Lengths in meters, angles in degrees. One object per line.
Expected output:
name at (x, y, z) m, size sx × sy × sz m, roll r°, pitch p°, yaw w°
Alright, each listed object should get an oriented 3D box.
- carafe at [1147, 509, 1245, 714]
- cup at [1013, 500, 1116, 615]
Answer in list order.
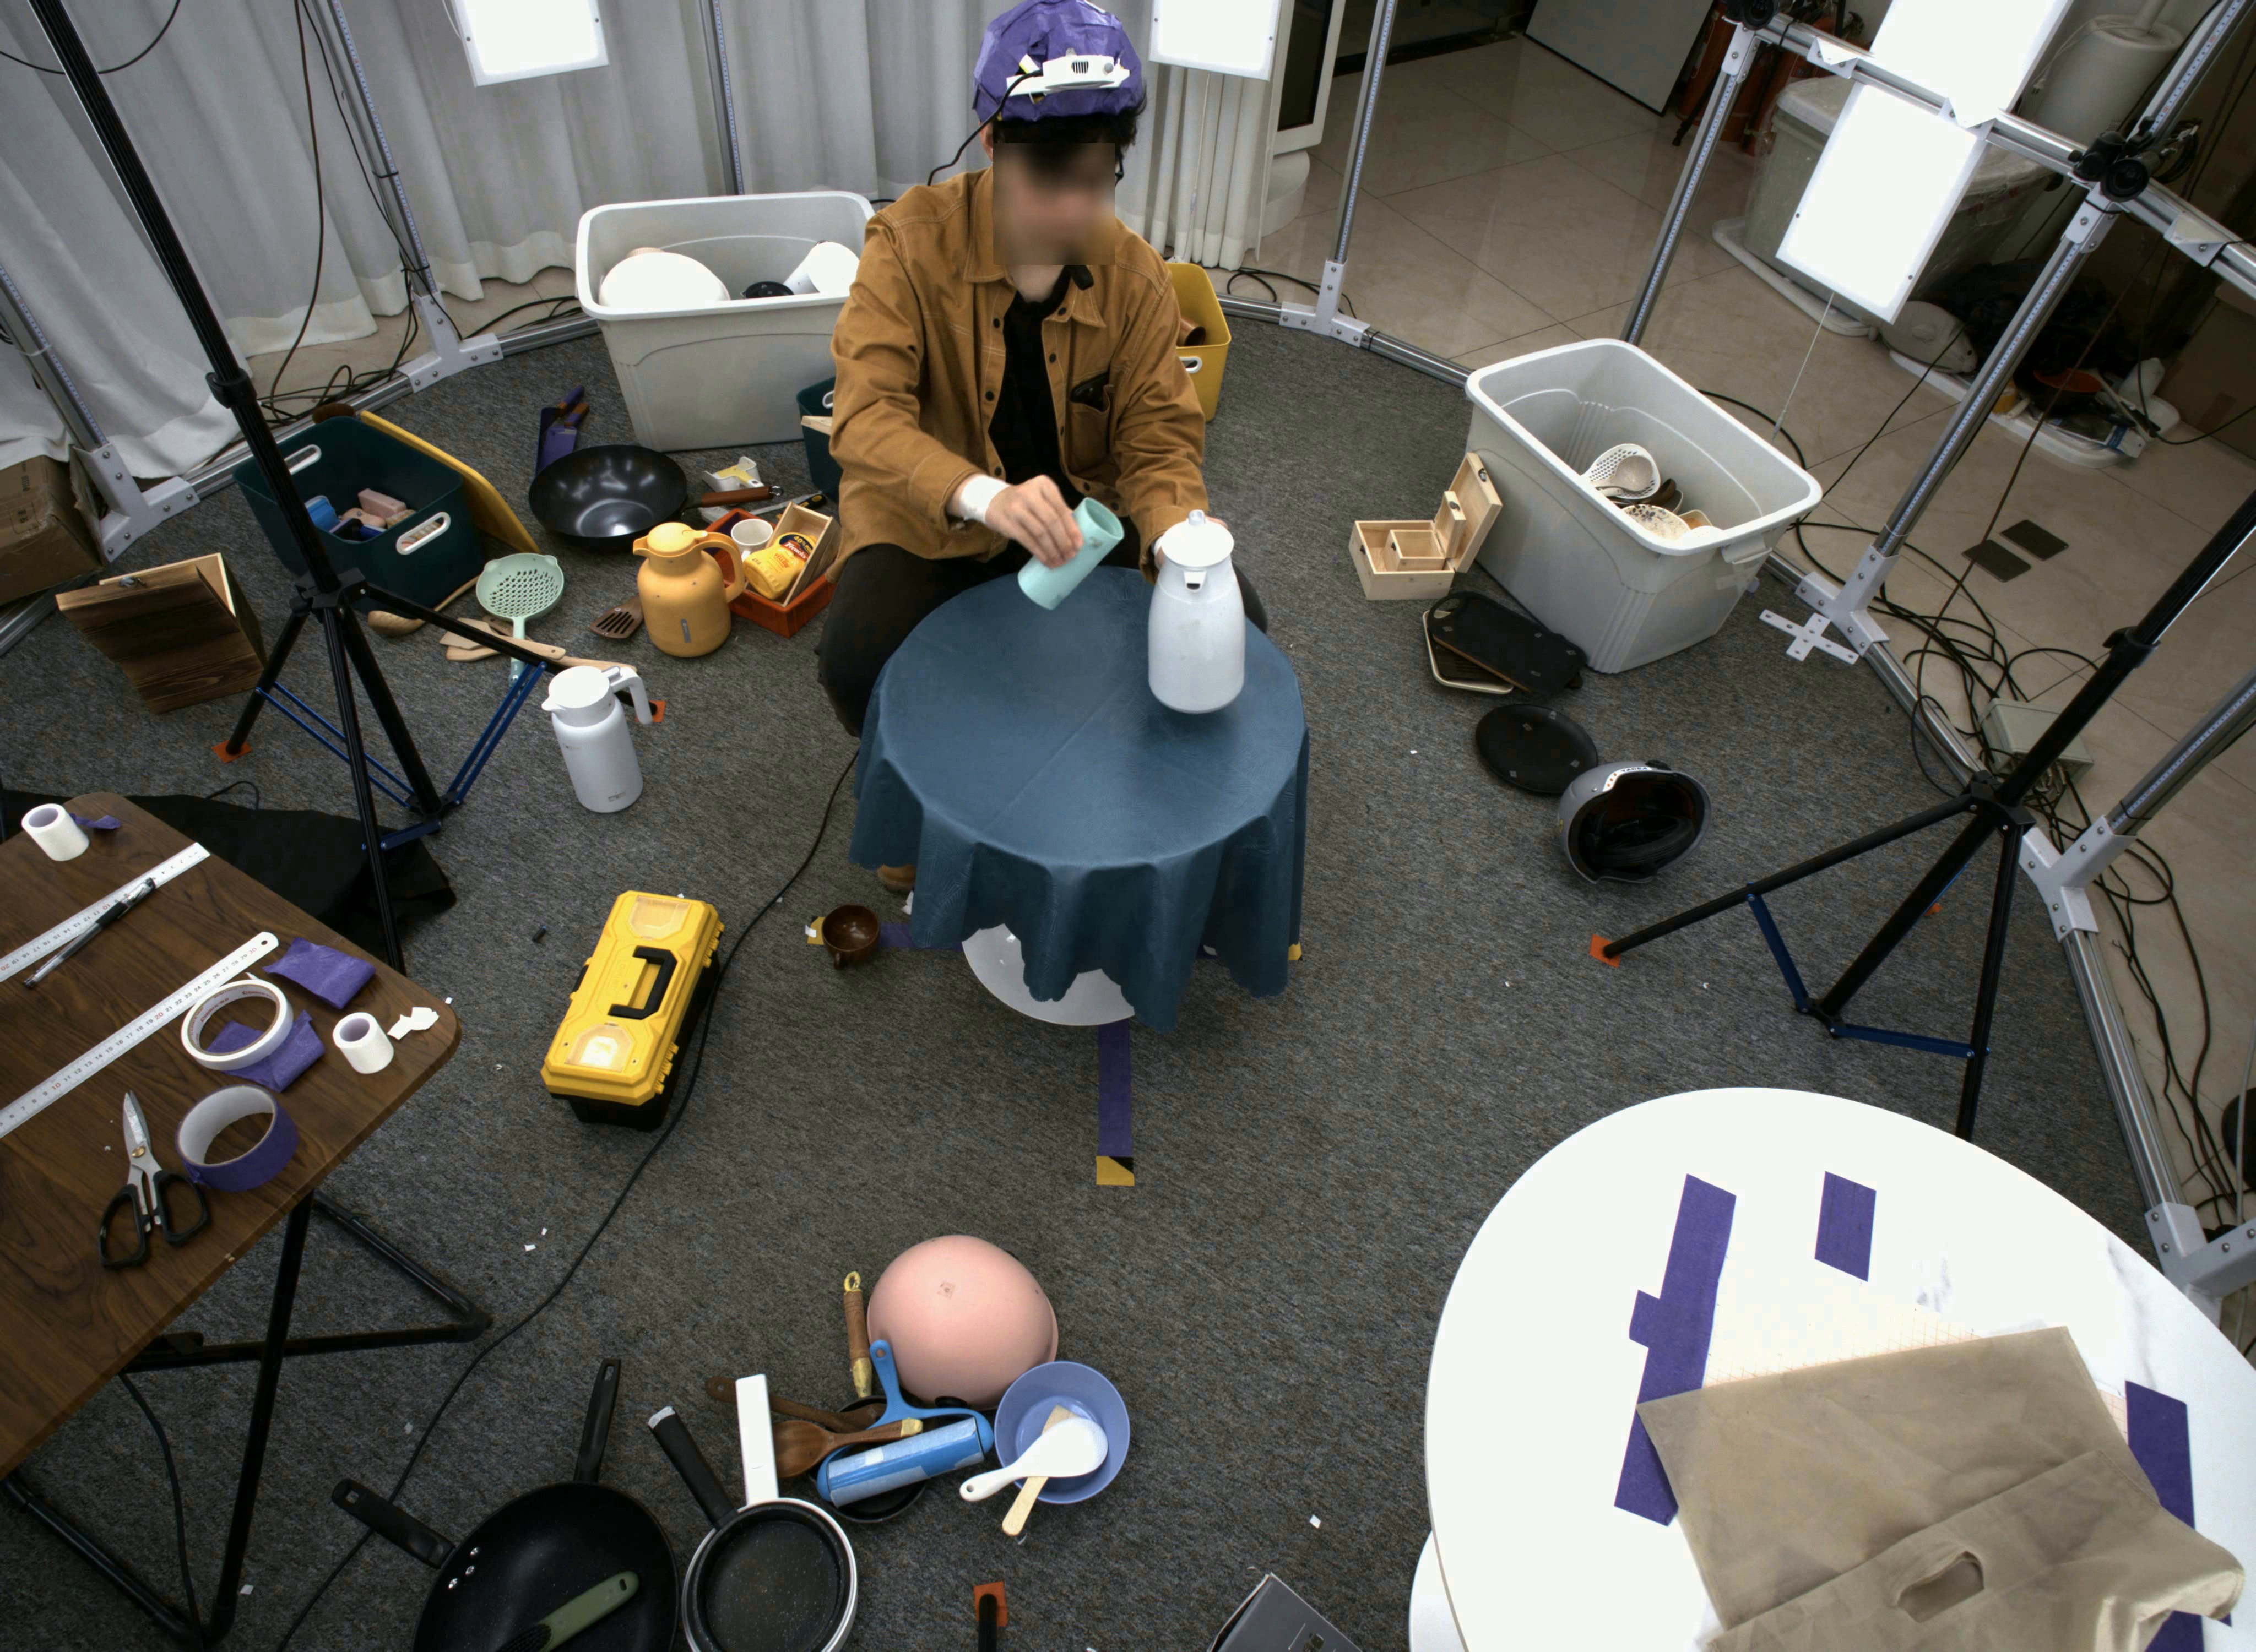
carafe at (0.090, -0.295, 1.703) m, size 0.132 × 0.242 × 0.172 m, roll 2°, pitch 49°, yaw 5°
cup at (-0.079, -0.327, 1.570) m, size 0.066 × 0.130 × 0.068 m, roll 32°, pitch 32°, yaw -23°
